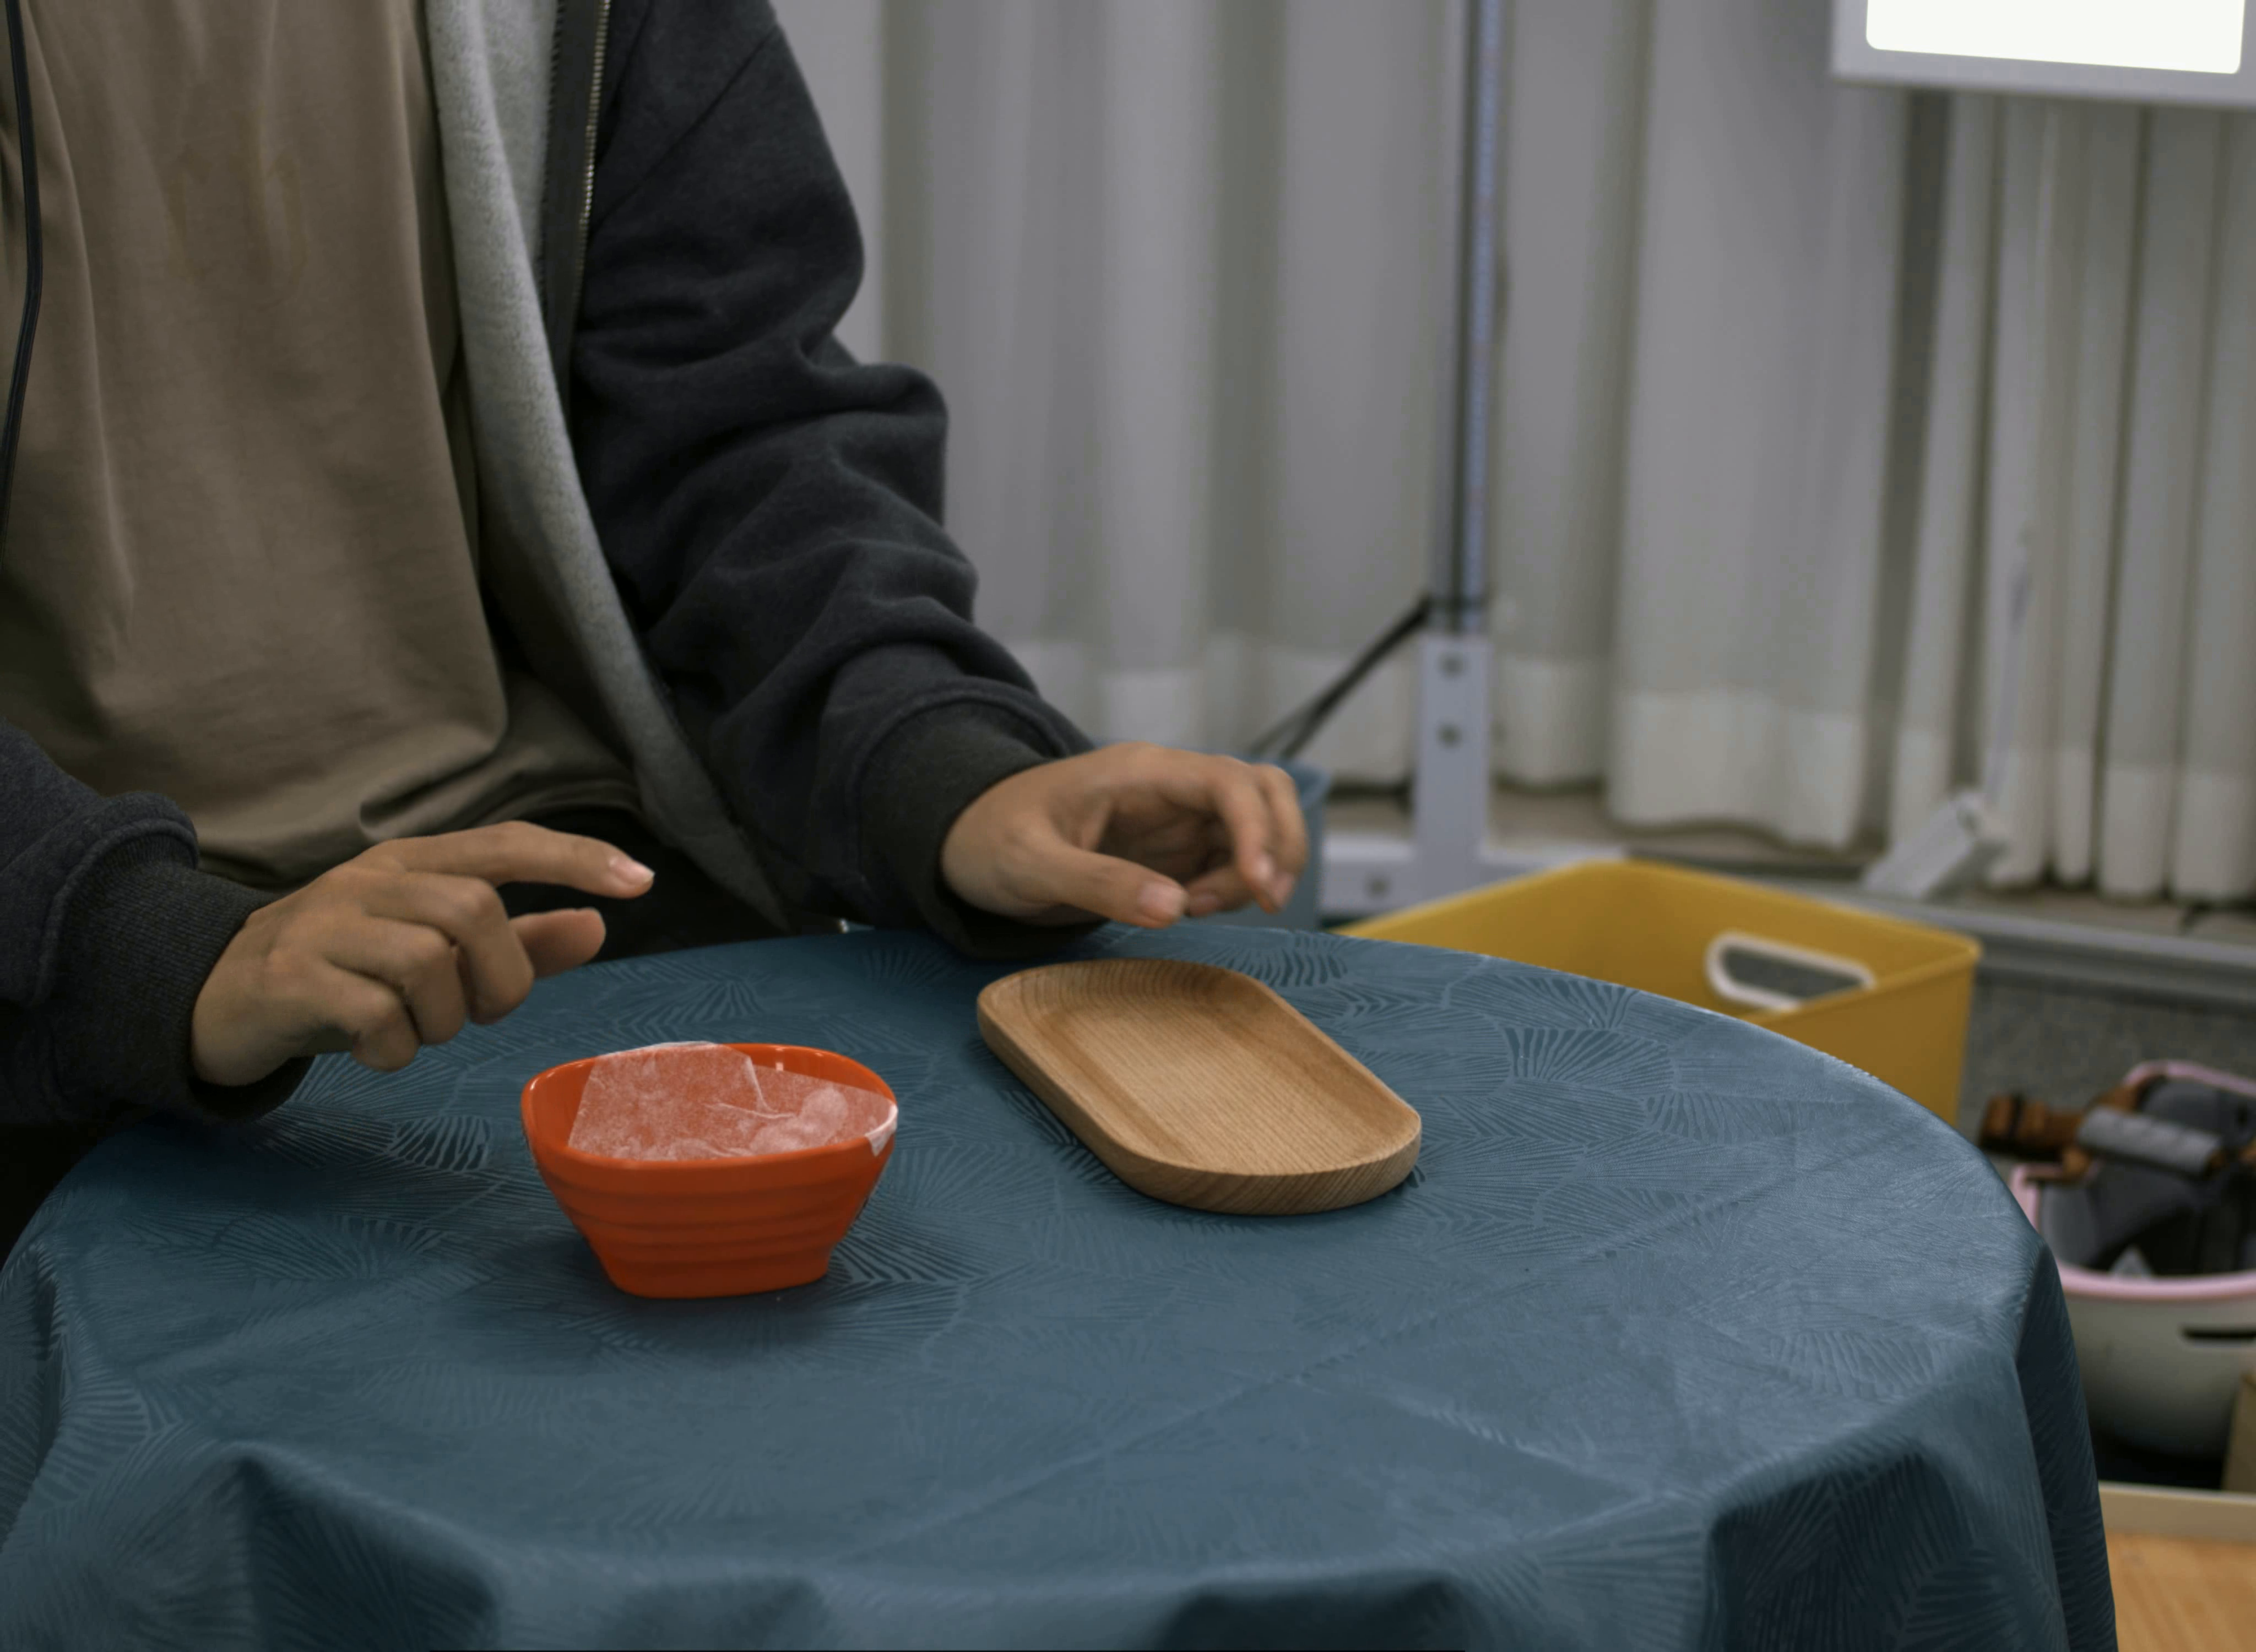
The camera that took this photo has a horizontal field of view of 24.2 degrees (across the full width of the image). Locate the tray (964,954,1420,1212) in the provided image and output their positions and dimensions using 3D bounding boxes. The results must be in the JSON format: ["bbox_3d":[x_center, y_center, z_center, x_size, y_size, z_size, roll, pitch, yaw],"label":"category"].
[{"bbox_3d":[0.018,0.081,1.705,0.102,0.020,0.228,-4,15,-20],"label":"tray"}]

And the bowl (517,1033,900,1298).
[{"bbox_3d":[-0.123,0.102,1.553,0.118,0.052,0.118,0,17,1],"label":"bowl"}]
